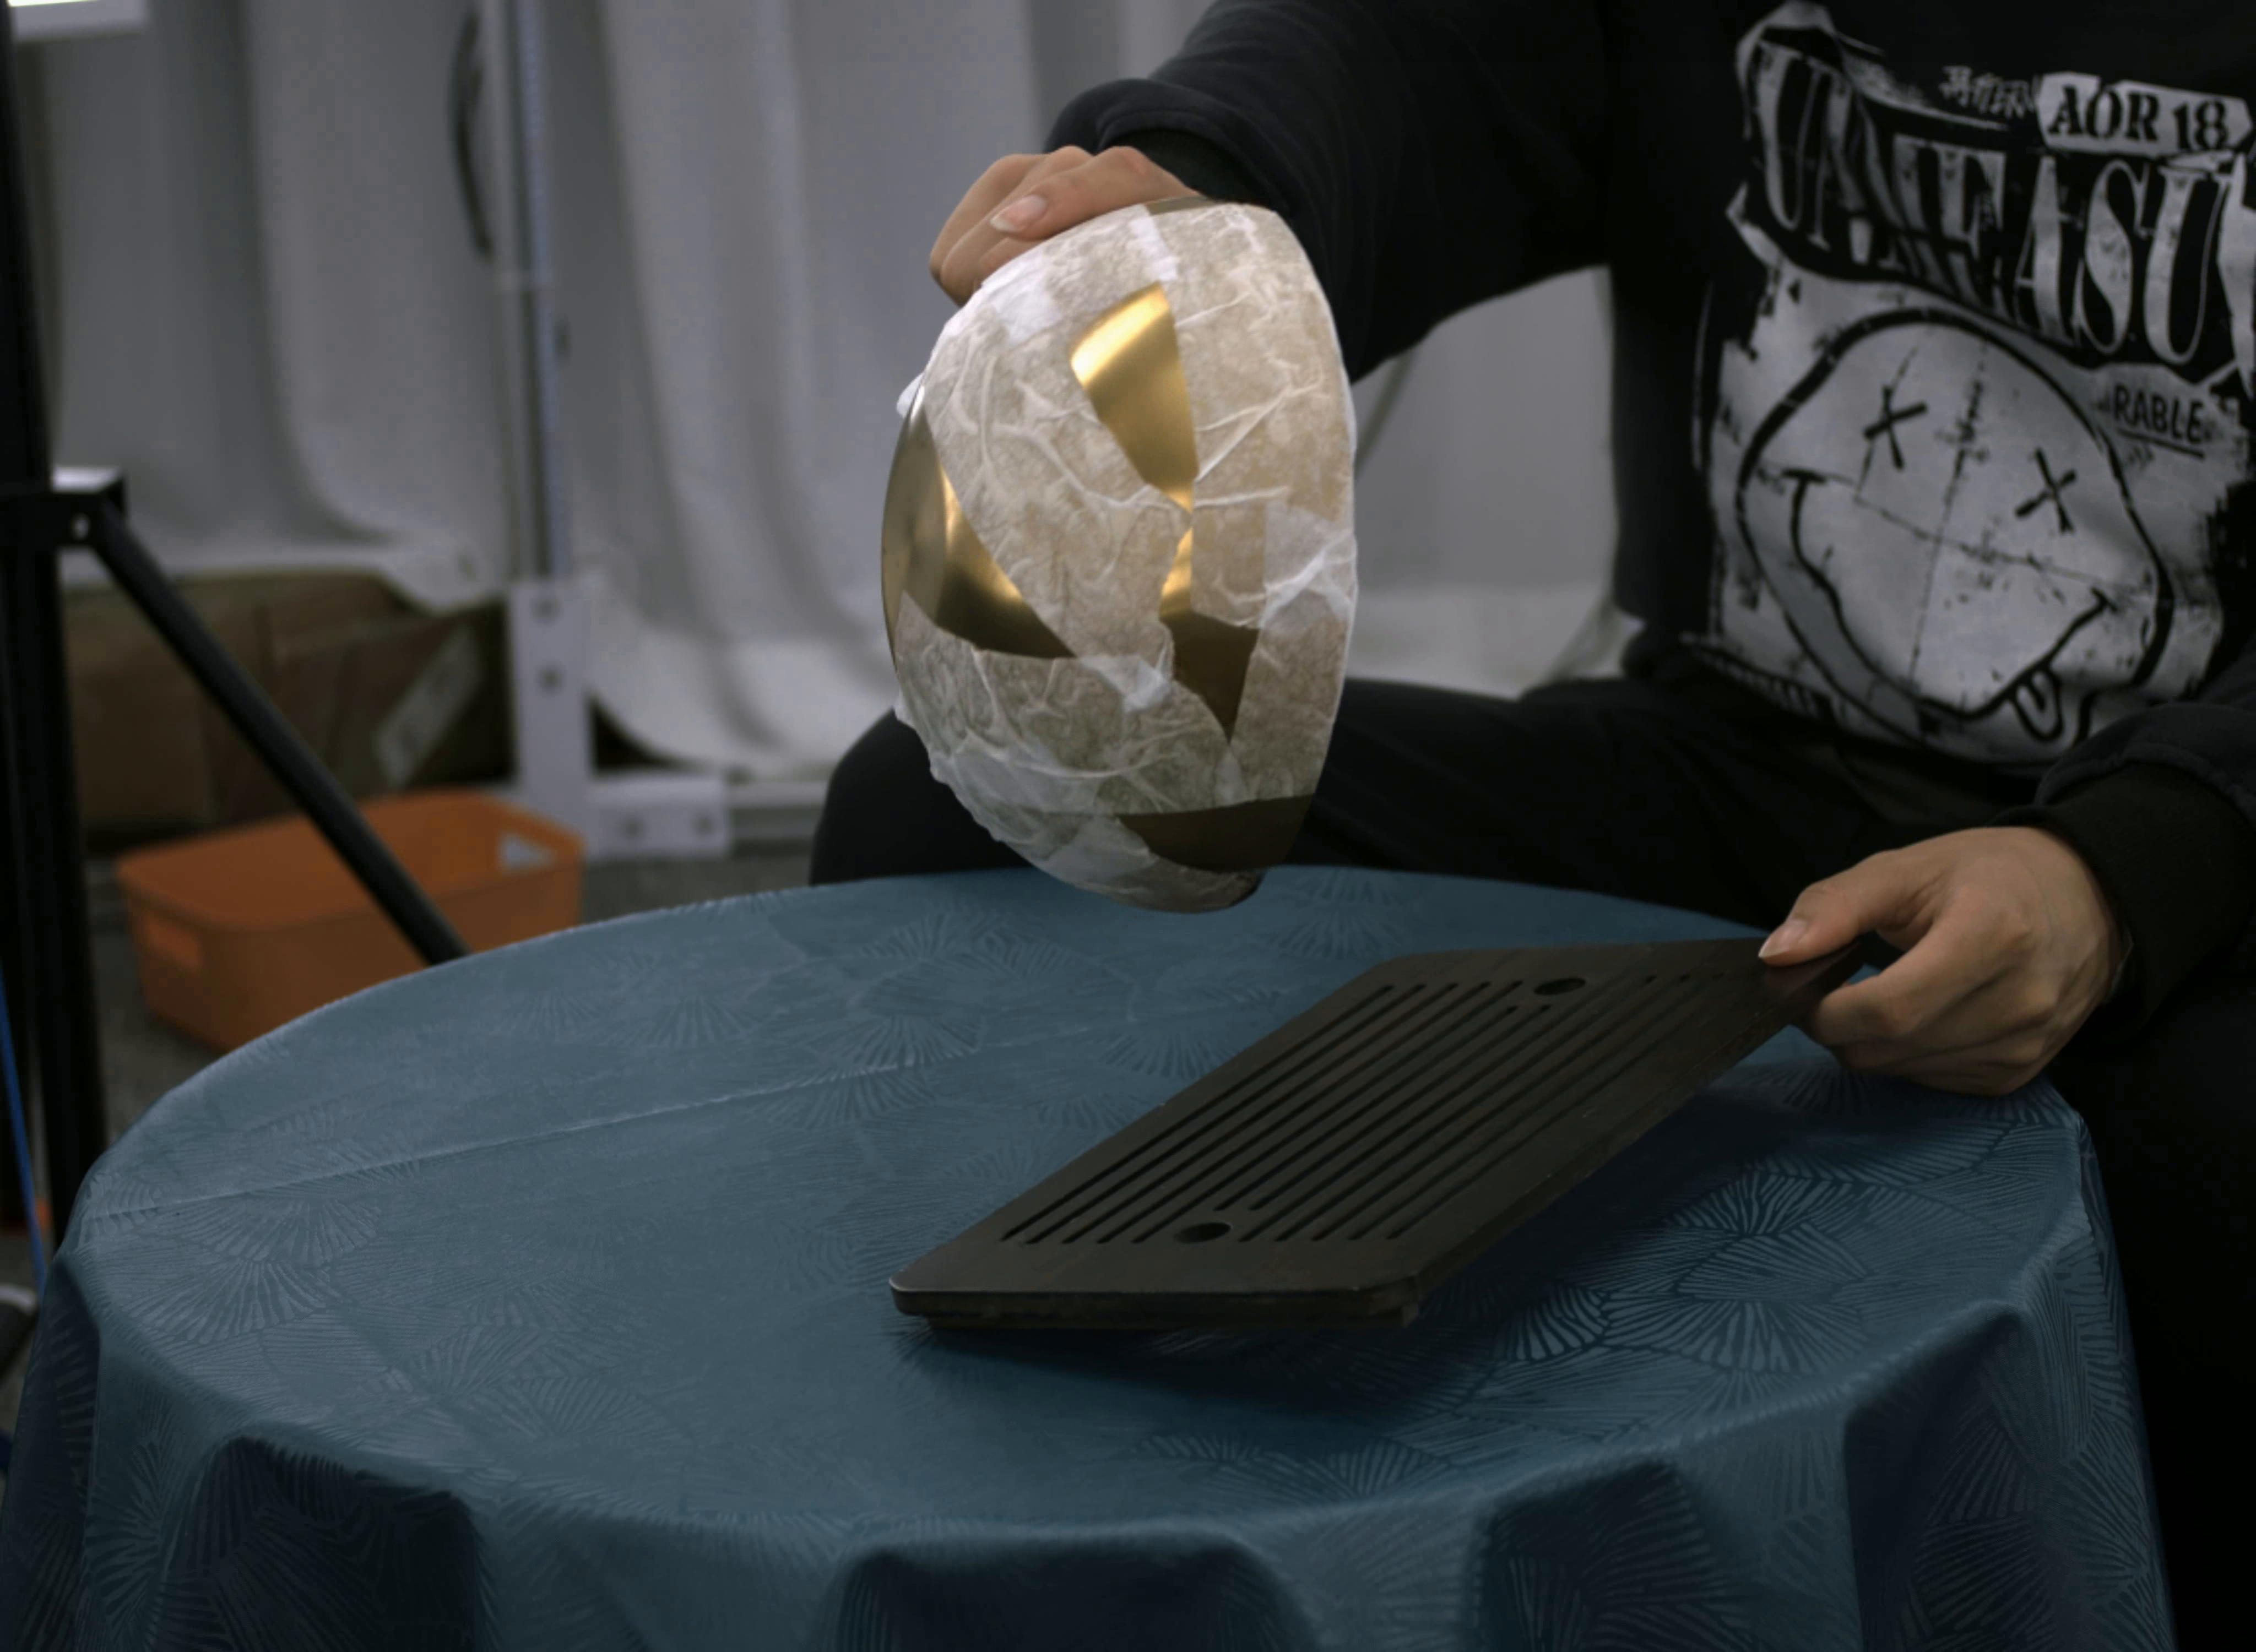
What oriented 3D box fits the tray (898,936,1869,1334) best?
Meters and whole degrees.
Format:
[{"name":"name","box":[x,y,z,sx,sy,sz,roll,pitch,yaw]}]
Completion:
[{"name":"tray","box":[0.081,0.088,1.520,0.173,0.018,0.300,-3,15,34]}]

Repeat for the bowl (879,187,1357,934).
[{"name":"bowl","box":[-0.016,-0.073,1.466,0.093,0.215,0.218,0,14,-19]}]
